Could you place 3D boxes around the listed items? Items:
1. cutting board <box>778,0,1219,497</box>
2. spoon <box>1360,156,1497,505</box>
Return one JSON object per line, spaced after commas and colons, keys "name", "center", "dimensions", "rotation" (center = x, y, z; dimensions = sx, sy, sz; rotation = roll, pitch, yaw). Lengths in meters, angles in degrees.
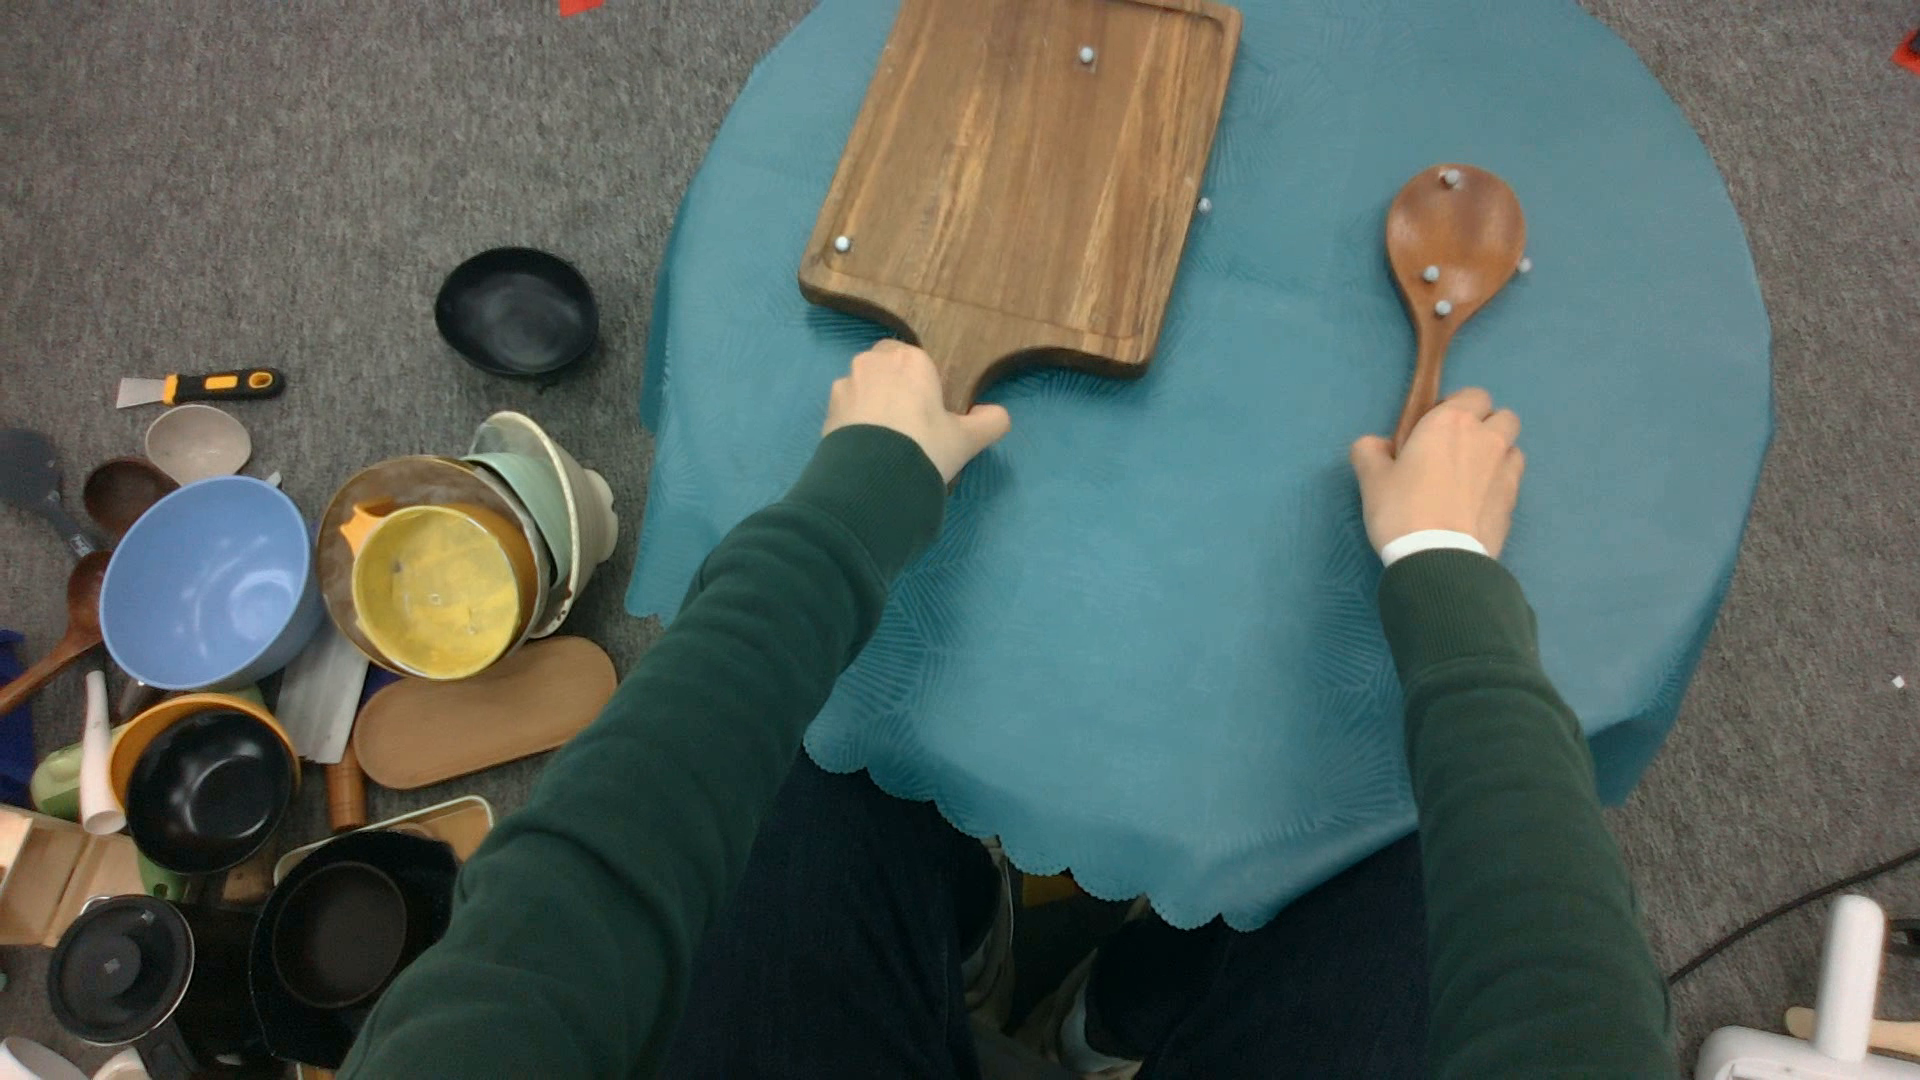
{"name": "cutting board", "center": [0.015, -0.182, 0.756], "dimensions": [0.201, 0.023, 0.353], "rotation": [15, 67, 5]}
{"name": "spoon", "center": [0.241, -0.115, 0.736], "dimensions": [0.075, 0.017, 0.216], "rotation": [15, 68, 3]}
